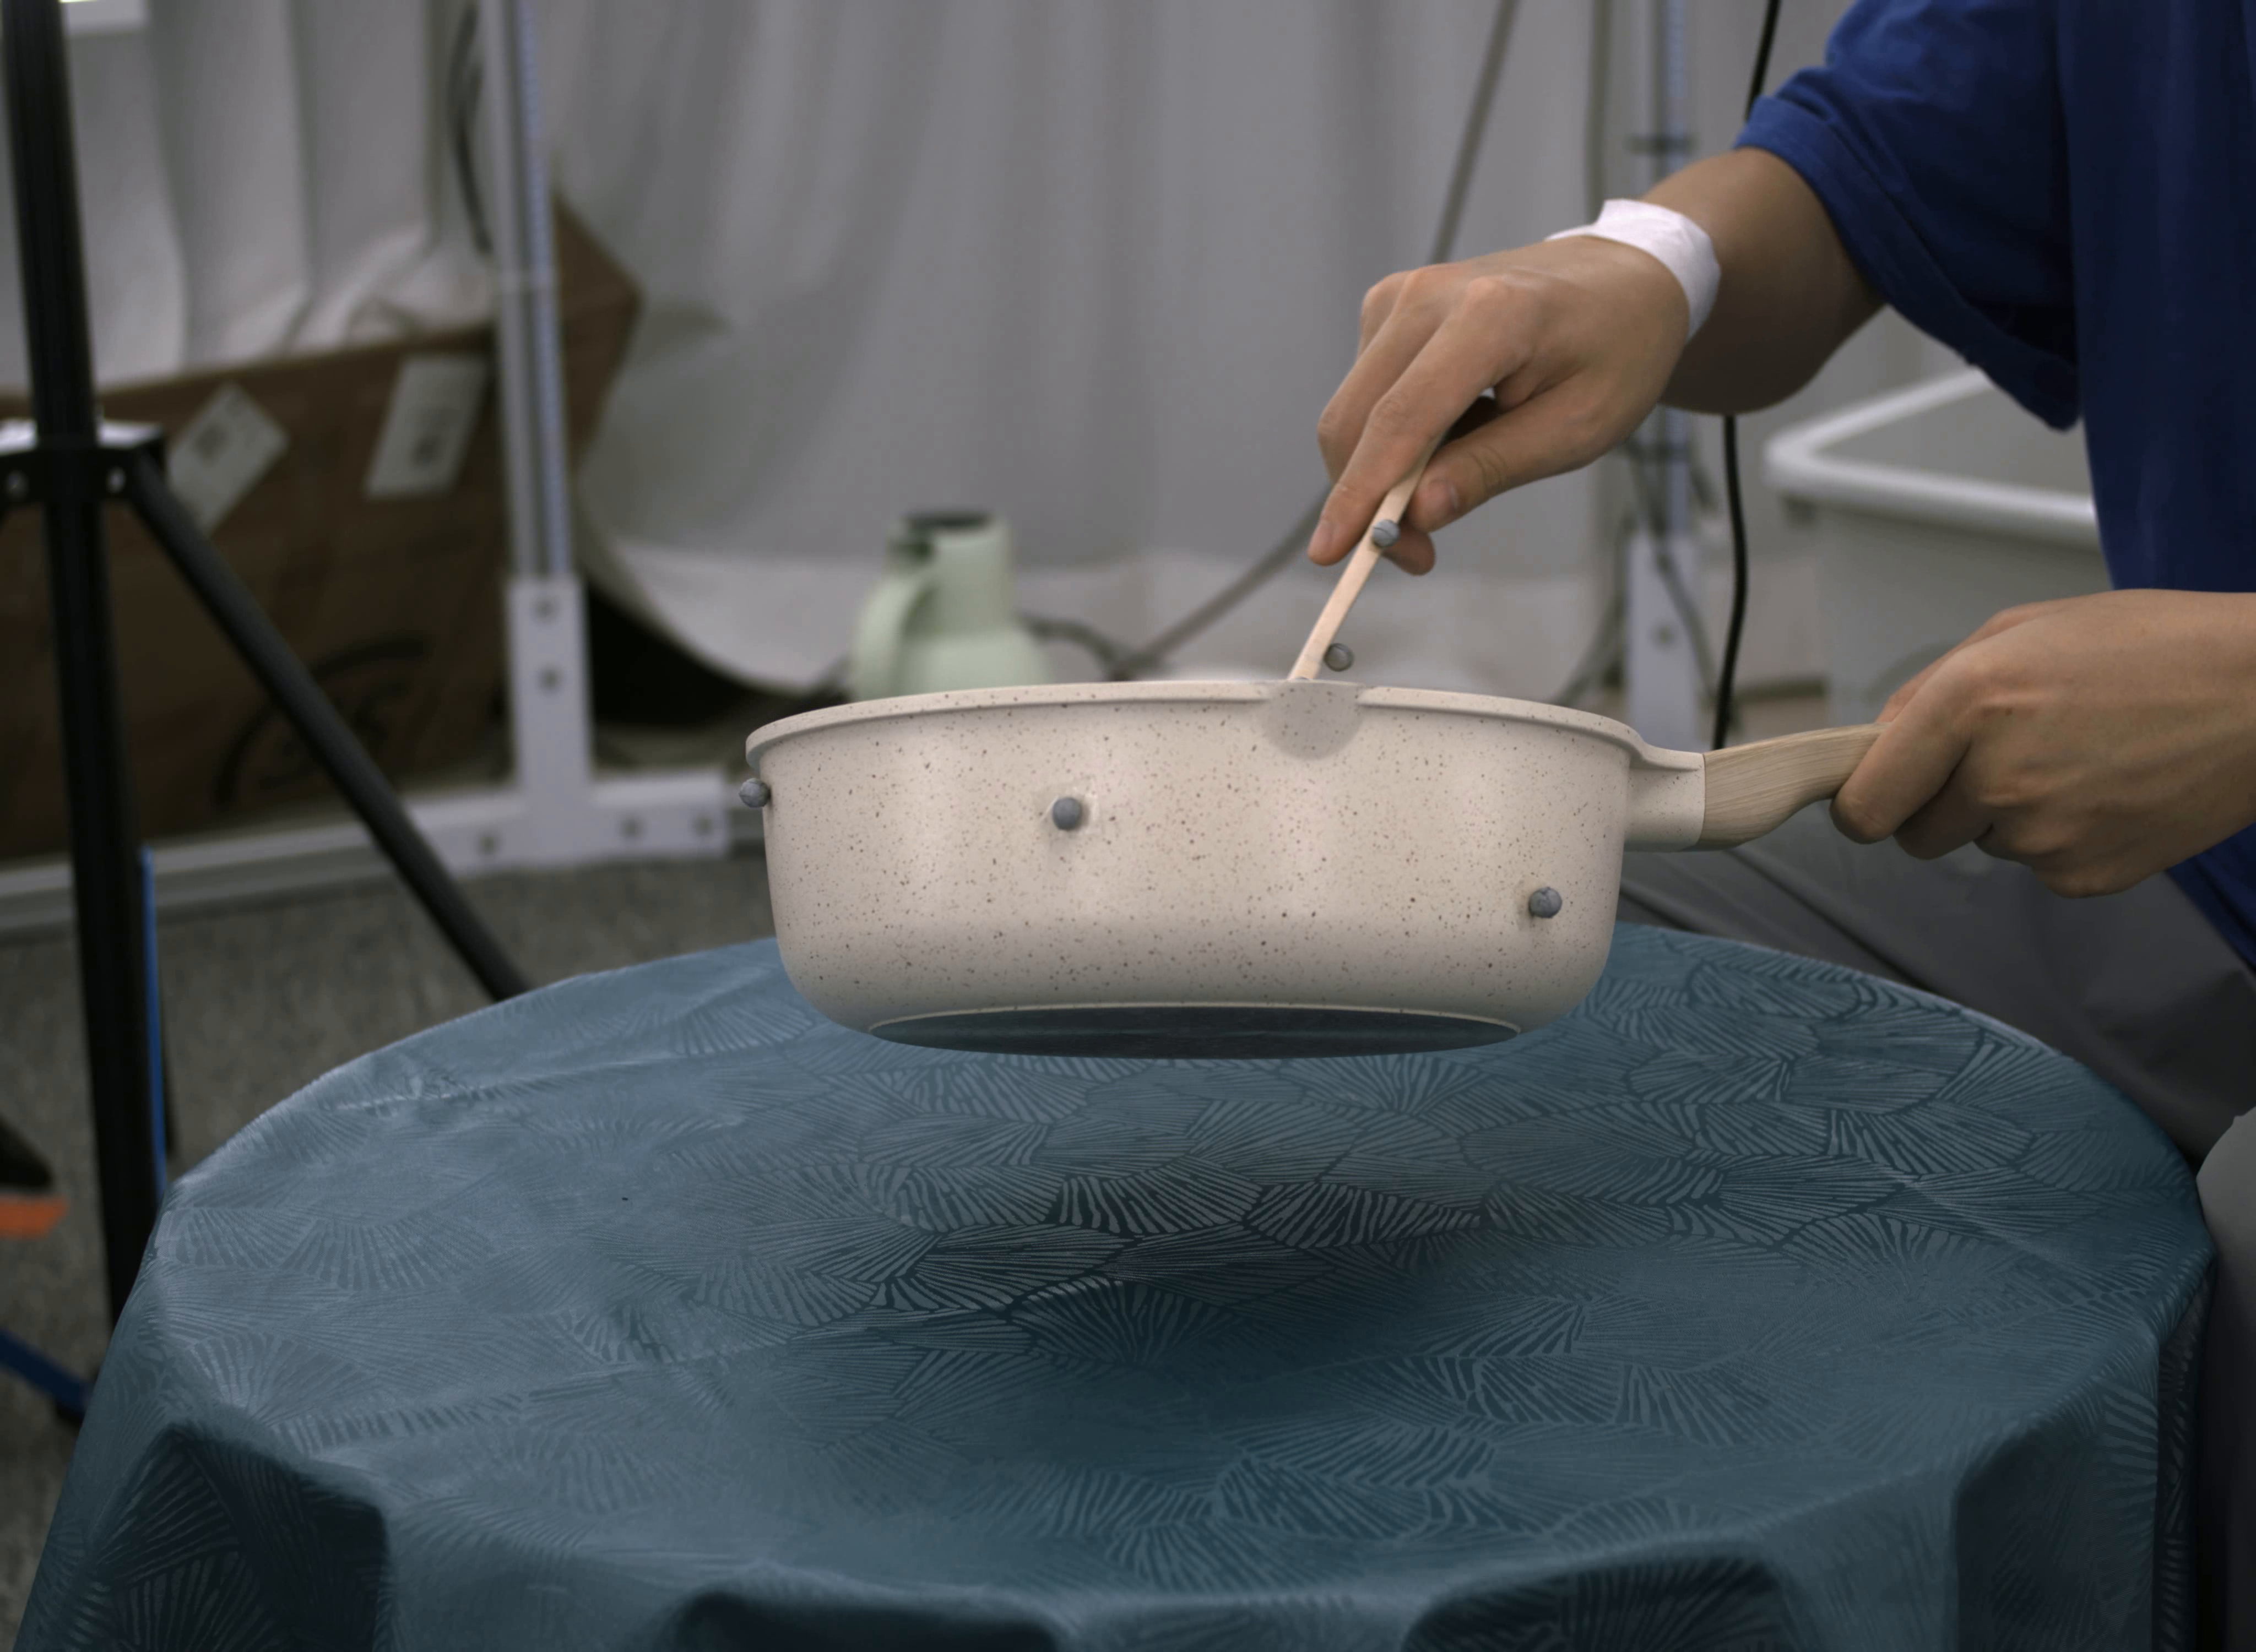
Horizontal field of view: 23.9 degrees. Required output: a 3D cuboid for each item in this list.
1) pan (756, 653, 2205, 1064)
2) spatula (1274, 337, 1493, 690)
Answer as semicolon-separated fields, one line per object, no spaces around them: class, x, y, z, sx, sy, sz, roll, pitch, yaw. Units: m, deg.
pan;0.109;0.011;1.496;0.428;0.103;0.265;3;-9;-13
spatula;0.062;-0.065;1.588;0.010;0.072;0.291;28;42;2
